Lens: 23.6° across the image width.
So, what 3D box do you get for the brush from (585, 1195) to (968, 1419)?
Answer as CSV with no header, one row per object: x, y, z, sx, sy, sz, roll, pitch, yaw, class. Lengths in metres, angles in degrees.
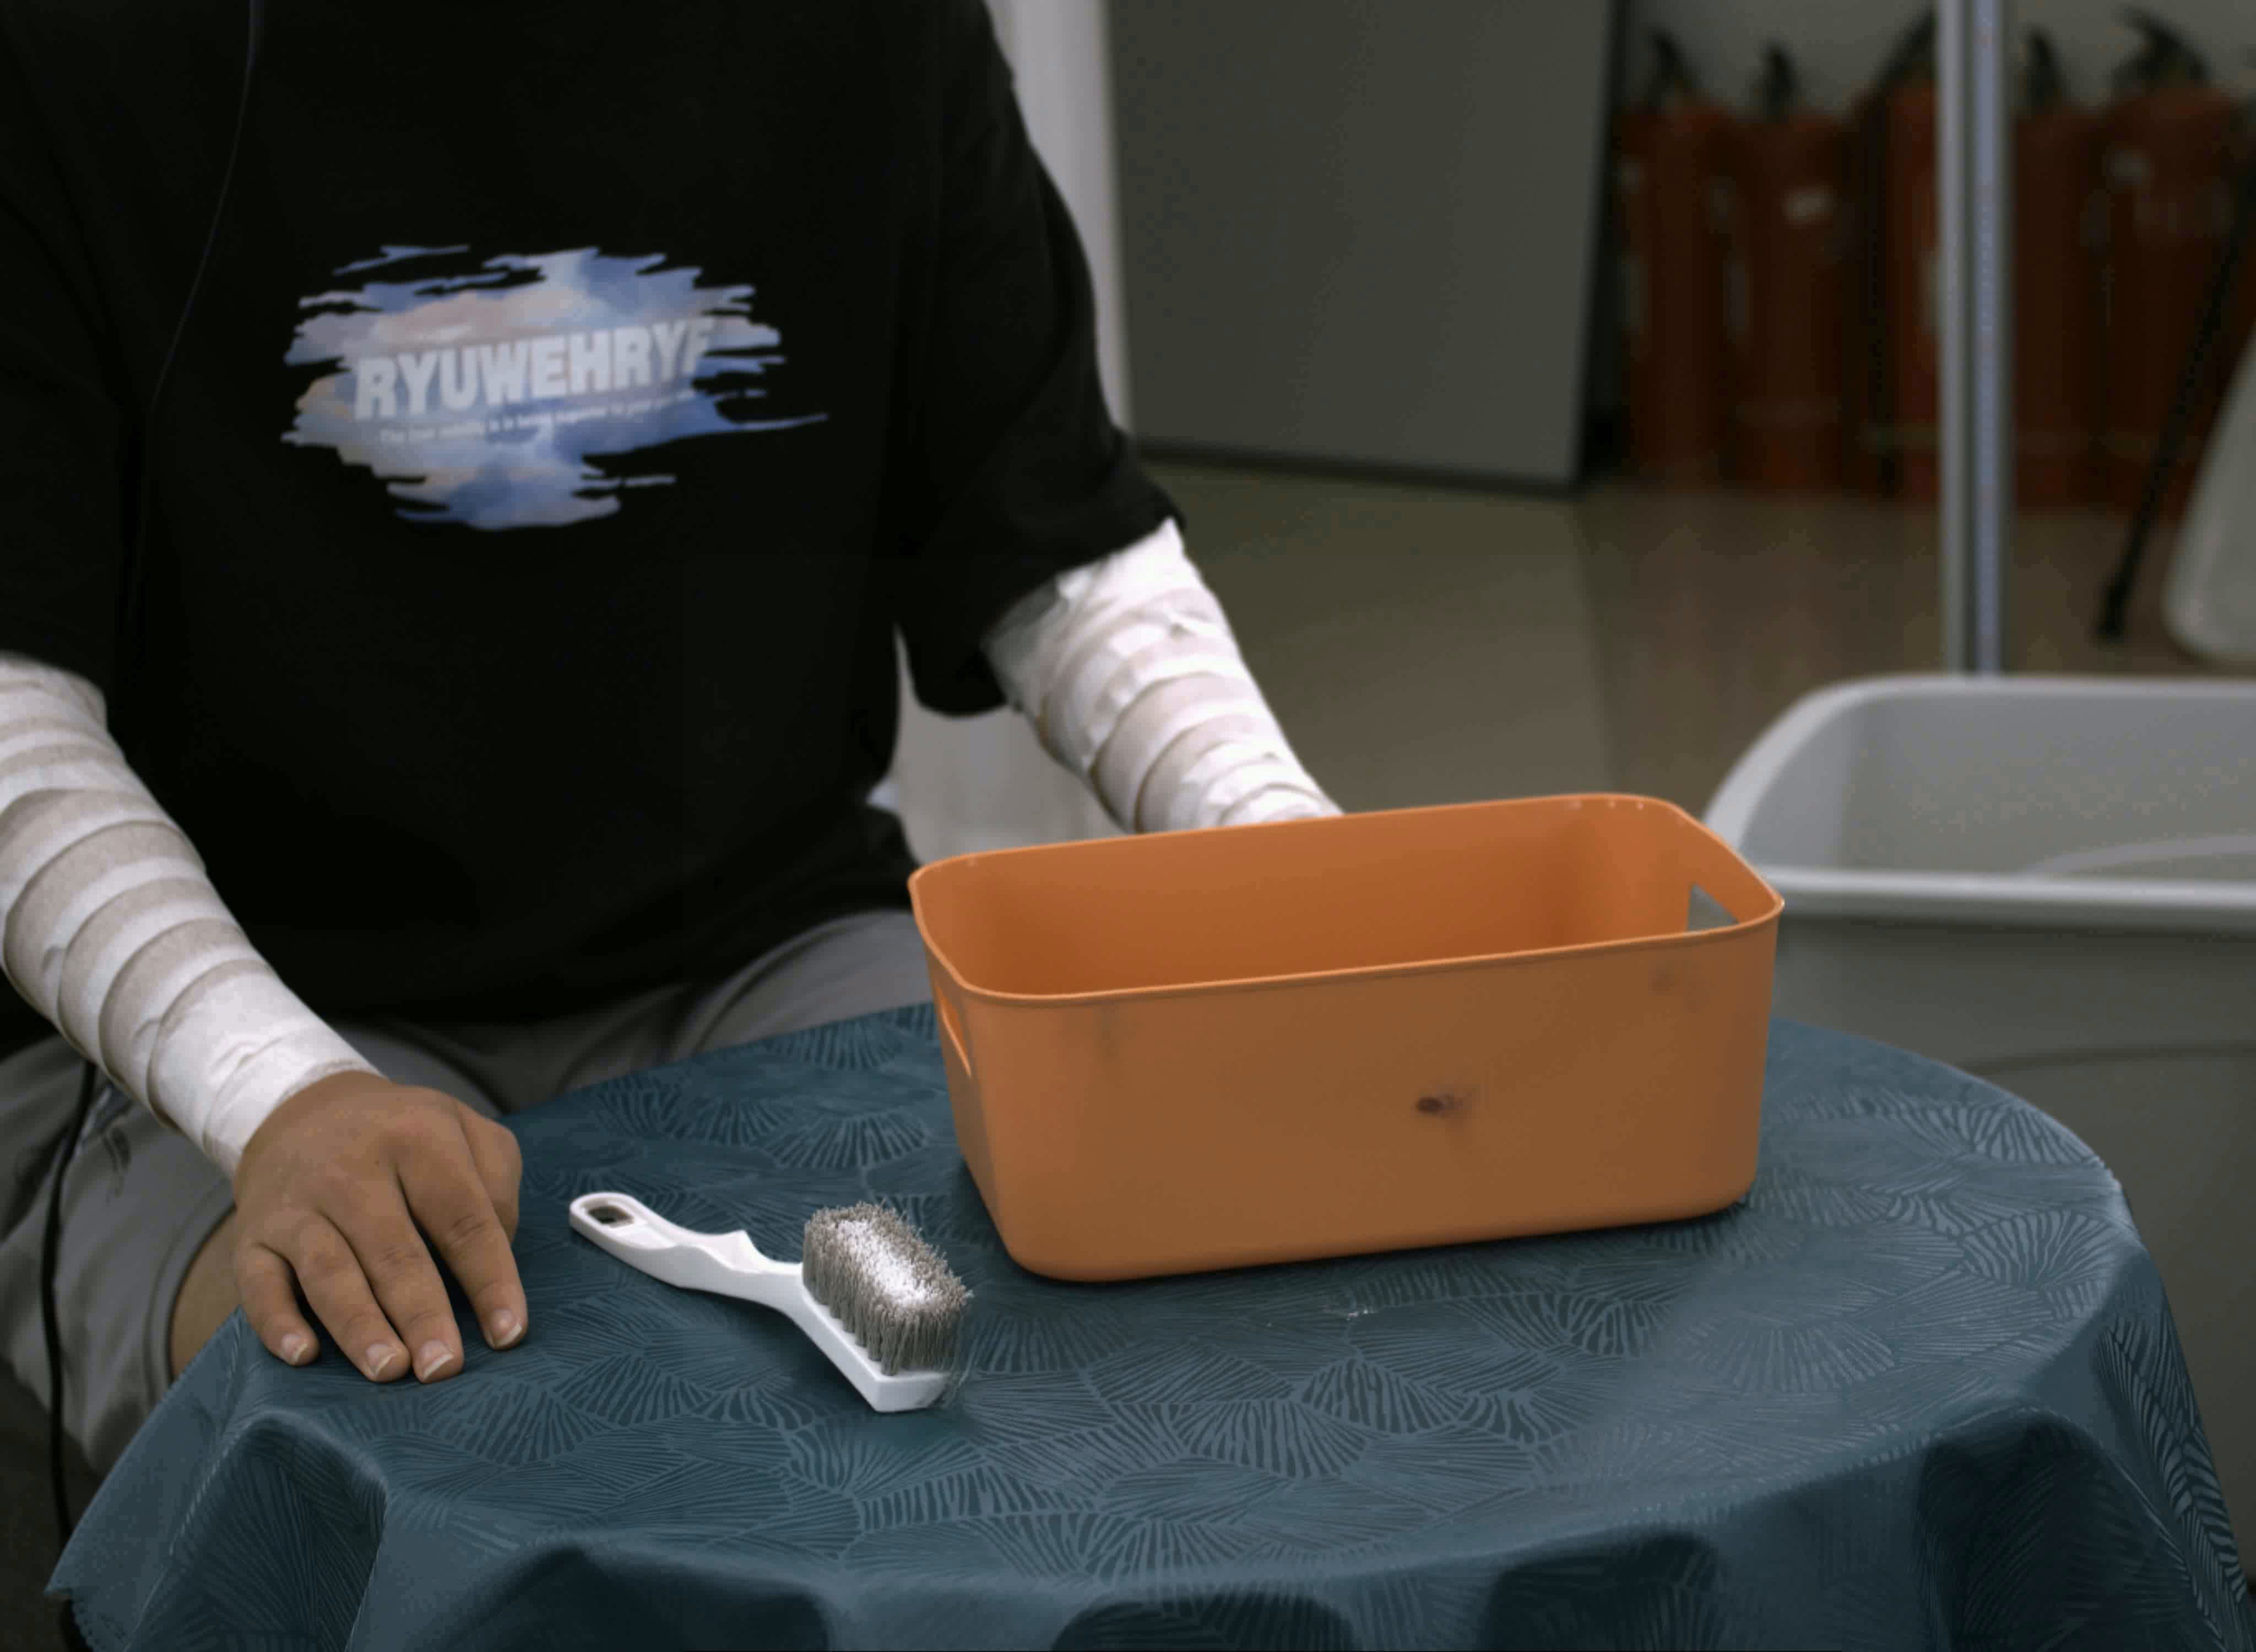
-0.115,0.128,1.673,0.033,0.051,0.246,-12,16,-26,brush

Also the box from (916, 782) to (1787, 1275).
0.070,0.064,1.756,0.268,0.104,0.200,-5,14,-8,box
